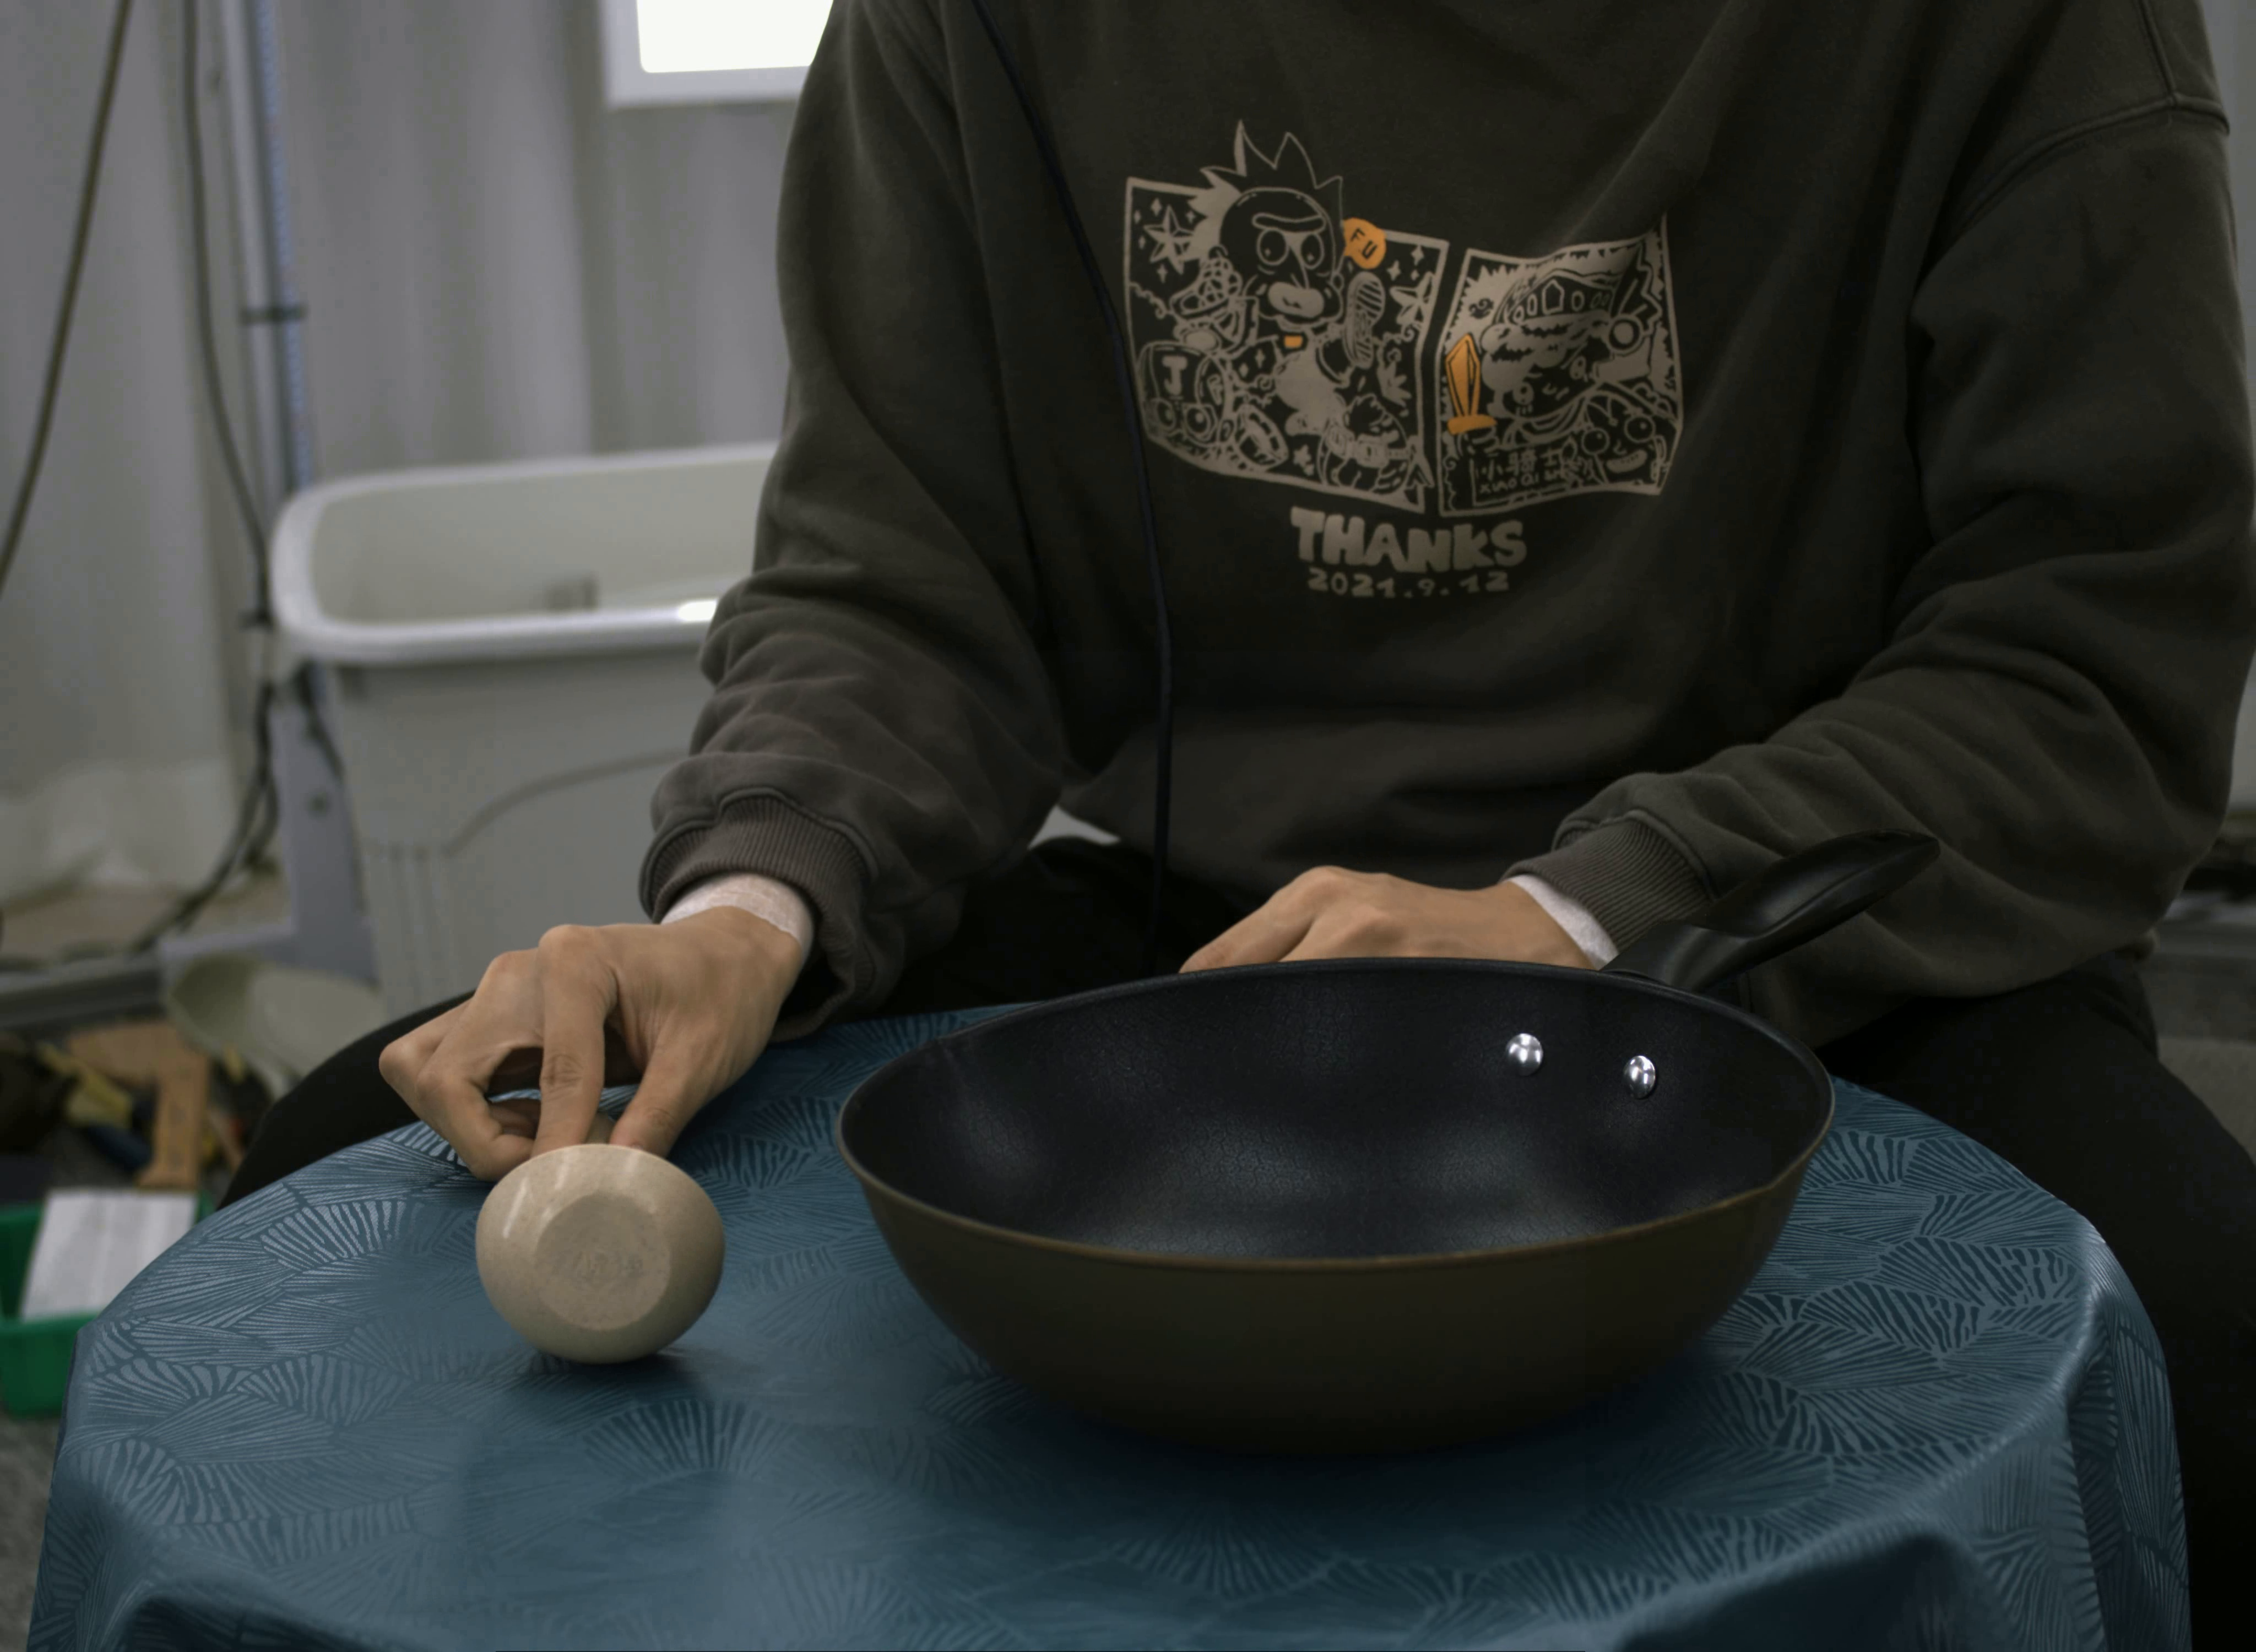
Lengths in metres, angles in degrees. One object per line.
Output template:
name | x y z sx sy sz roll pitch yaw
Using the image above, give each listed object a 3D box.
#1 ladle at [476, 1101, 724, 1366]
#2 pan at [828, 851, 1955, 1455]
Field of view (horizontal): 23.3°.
ladle | -0.165 0.095 1.683 0.072 0.072 0.256 6 15 -9
pan | 0.113 0.093 1.621 0.289 0.086 0.463 8 18 37
